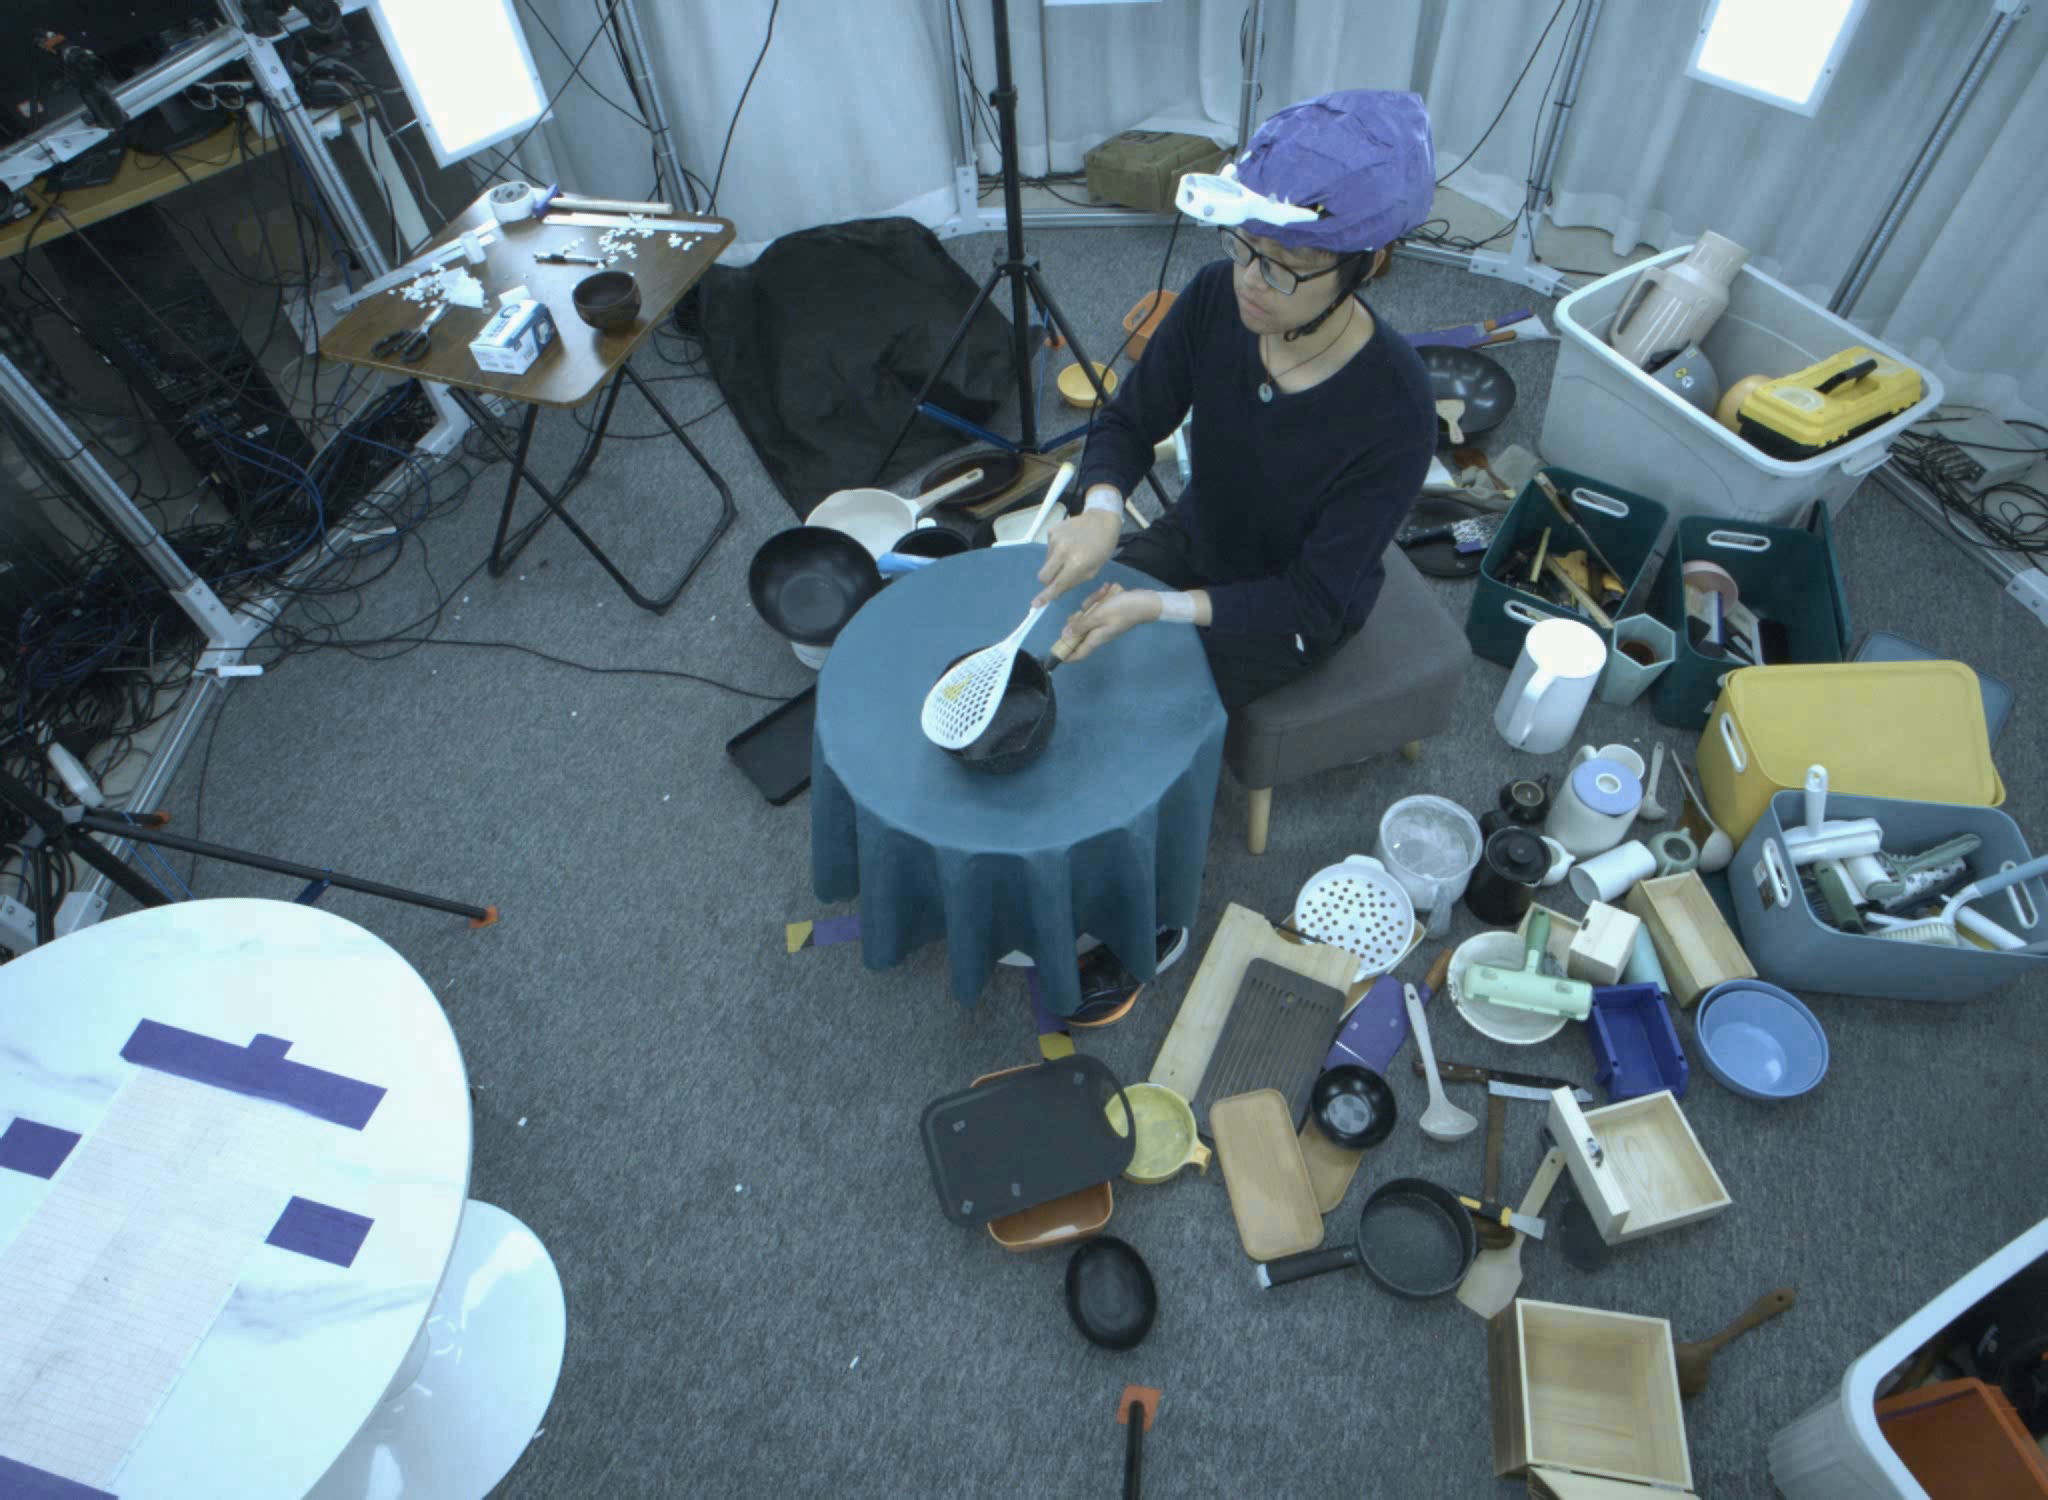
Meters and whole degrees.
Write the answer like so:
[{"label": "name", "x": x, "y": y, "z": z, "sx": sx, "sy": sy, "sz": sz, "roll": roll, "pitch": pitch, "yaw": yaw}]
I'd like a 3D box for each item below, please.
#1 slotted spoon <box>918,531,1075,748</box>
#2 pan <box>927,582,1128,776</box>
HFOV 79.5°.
[{"label": "slotted spoon", "x": -0.028, "y": -0.153, "z": 1.698, "sx": 0.347, "sy": 0.140, "sz": 0.049, "roll": -49, "pitch": 54, "yaw": 6}, {"label": "pan", "x": 0.019, "y": -0.104, "z": 1.744, "sx": 0.343, "sy": 0.110, "sz": 0.203, "roll": -39, "pitch": 56, "yaw": -2}]
